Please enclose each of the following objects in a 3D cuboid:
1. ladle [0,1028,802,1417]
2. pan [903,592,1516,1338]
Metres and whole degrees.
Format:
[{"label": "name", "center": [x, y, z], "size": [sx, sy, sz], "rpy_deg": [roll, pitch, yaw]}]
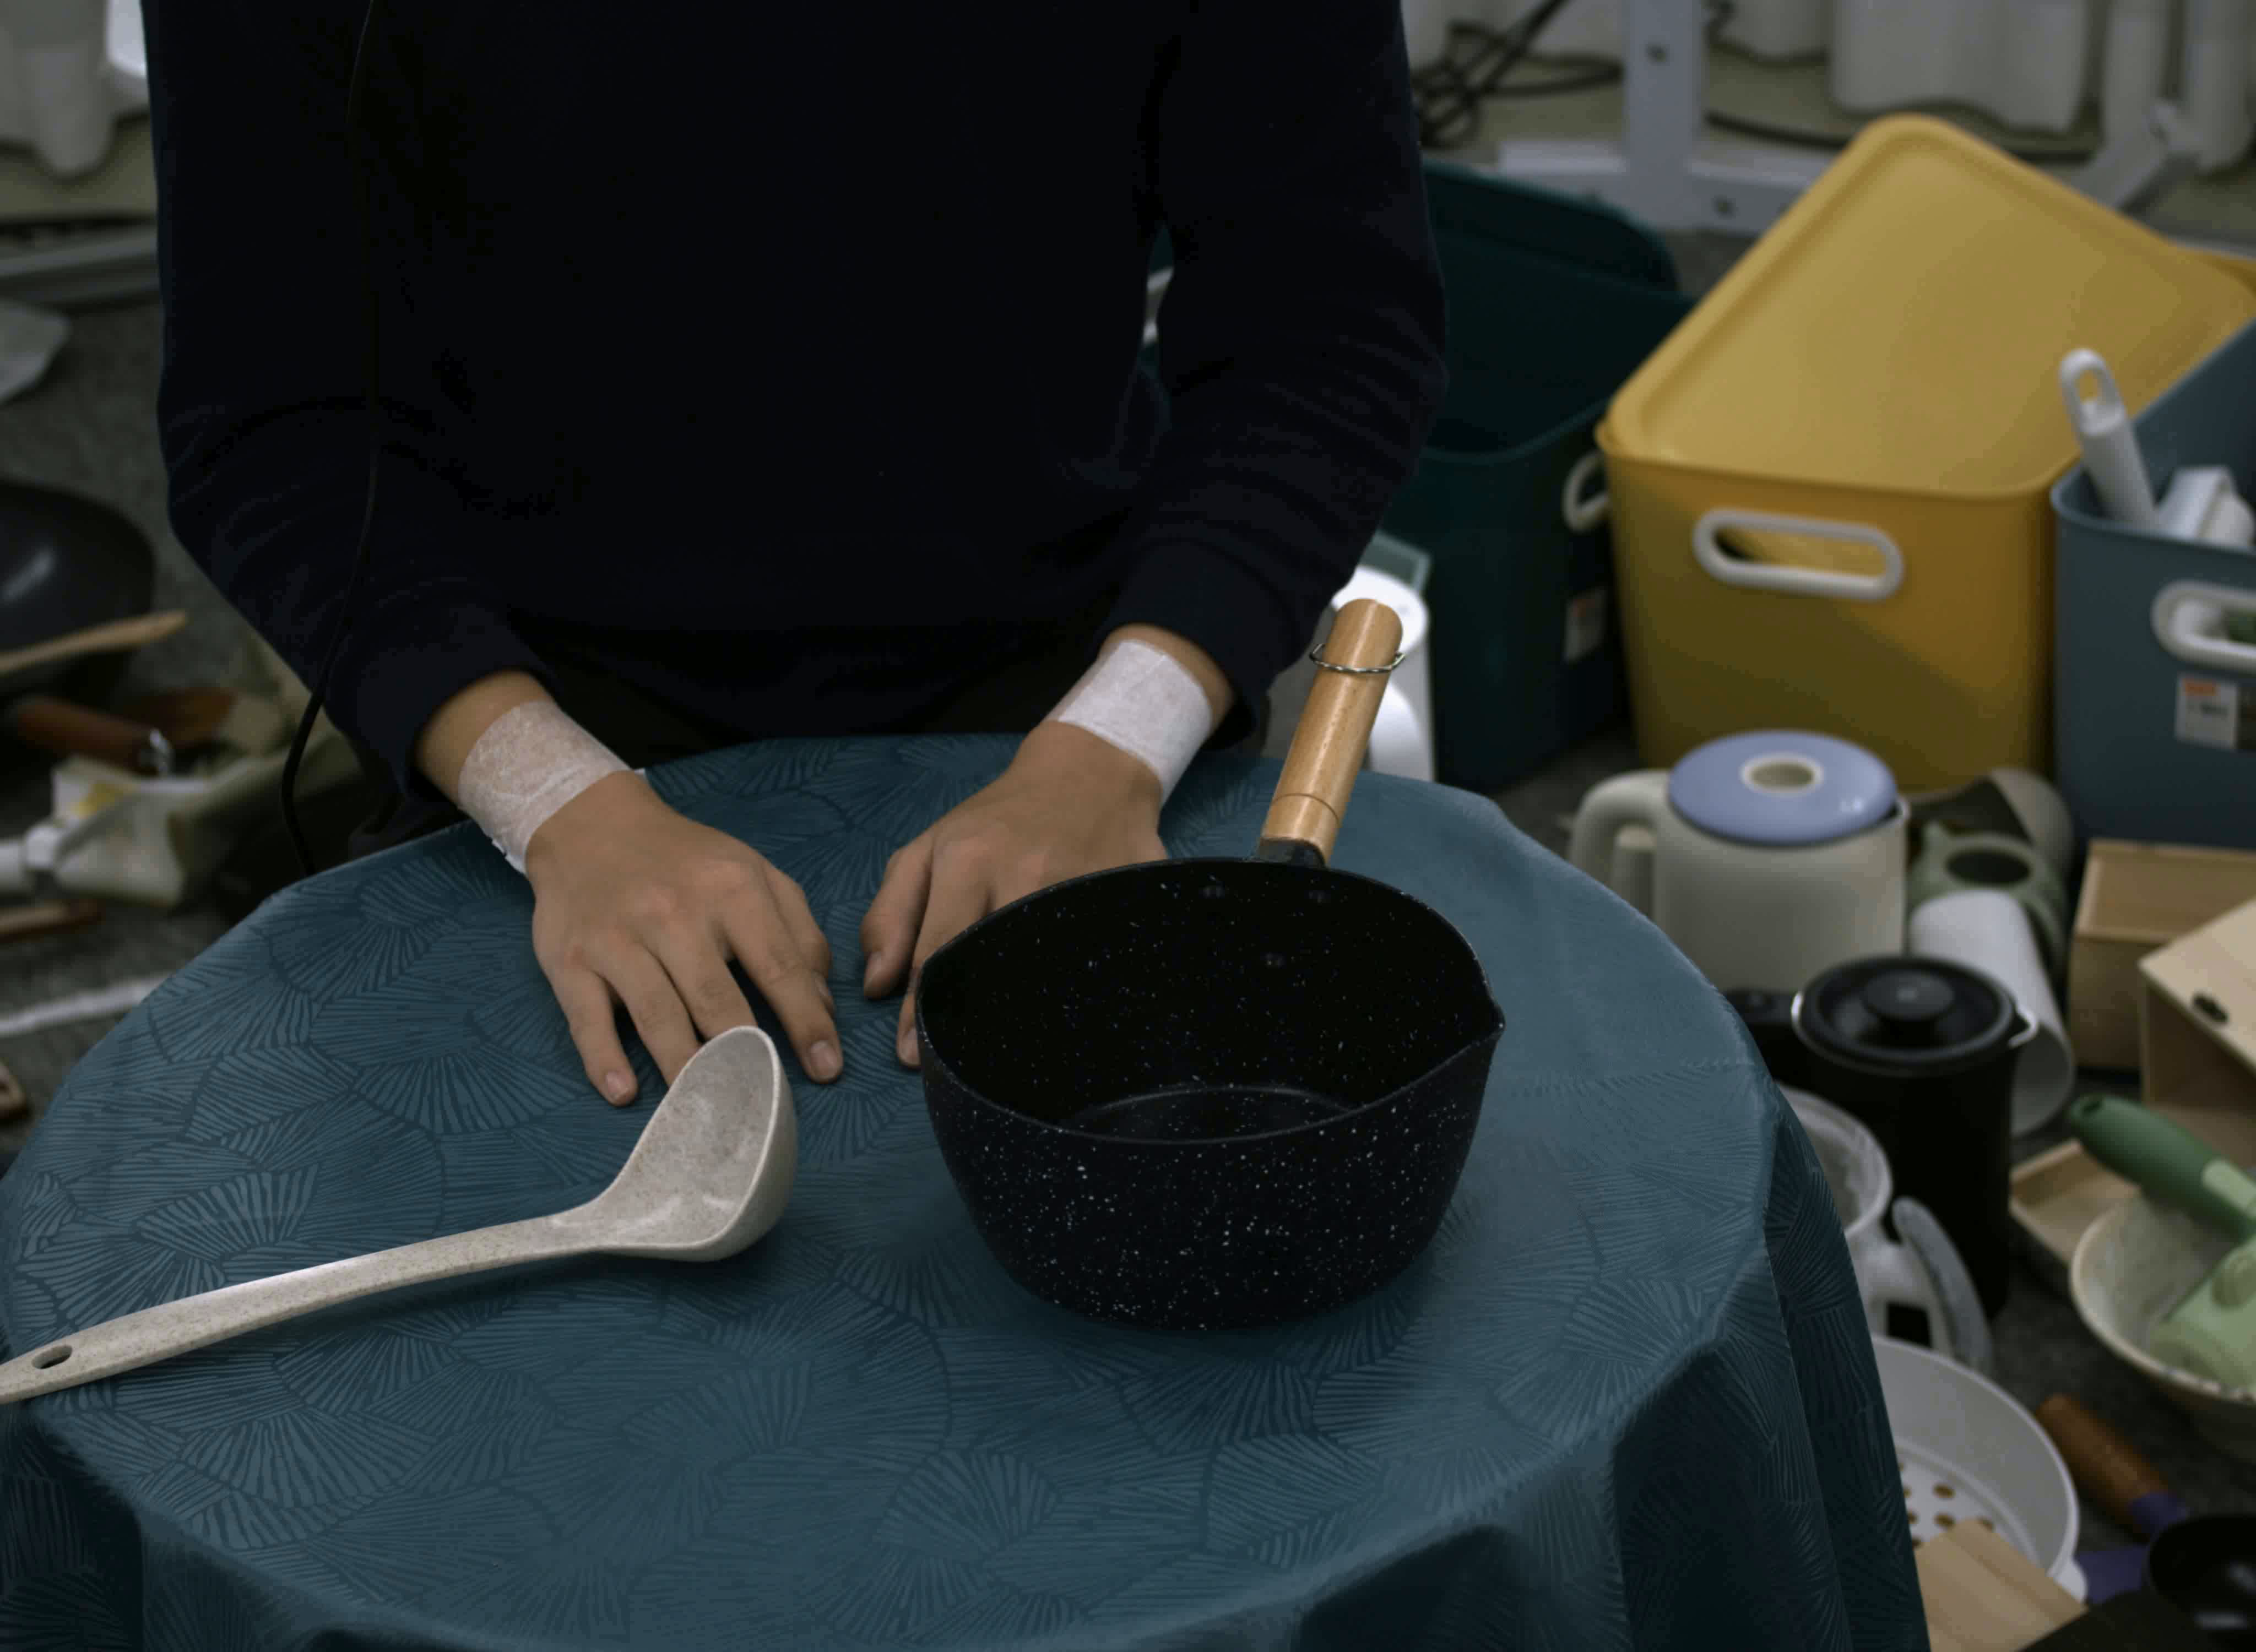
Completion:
[{"label": "ladle", "center": [-0.238, 0.128, 1.804], "size": [0.275, 0.068, 0.090], "rpy_deg": [-12, 34, -15]}, {"label": "pan", "center": [0.044, 0.043, 1.893], "size": [0.206, 0.107, 0.349], "rpy_deg": [3, 29, 14]}]
